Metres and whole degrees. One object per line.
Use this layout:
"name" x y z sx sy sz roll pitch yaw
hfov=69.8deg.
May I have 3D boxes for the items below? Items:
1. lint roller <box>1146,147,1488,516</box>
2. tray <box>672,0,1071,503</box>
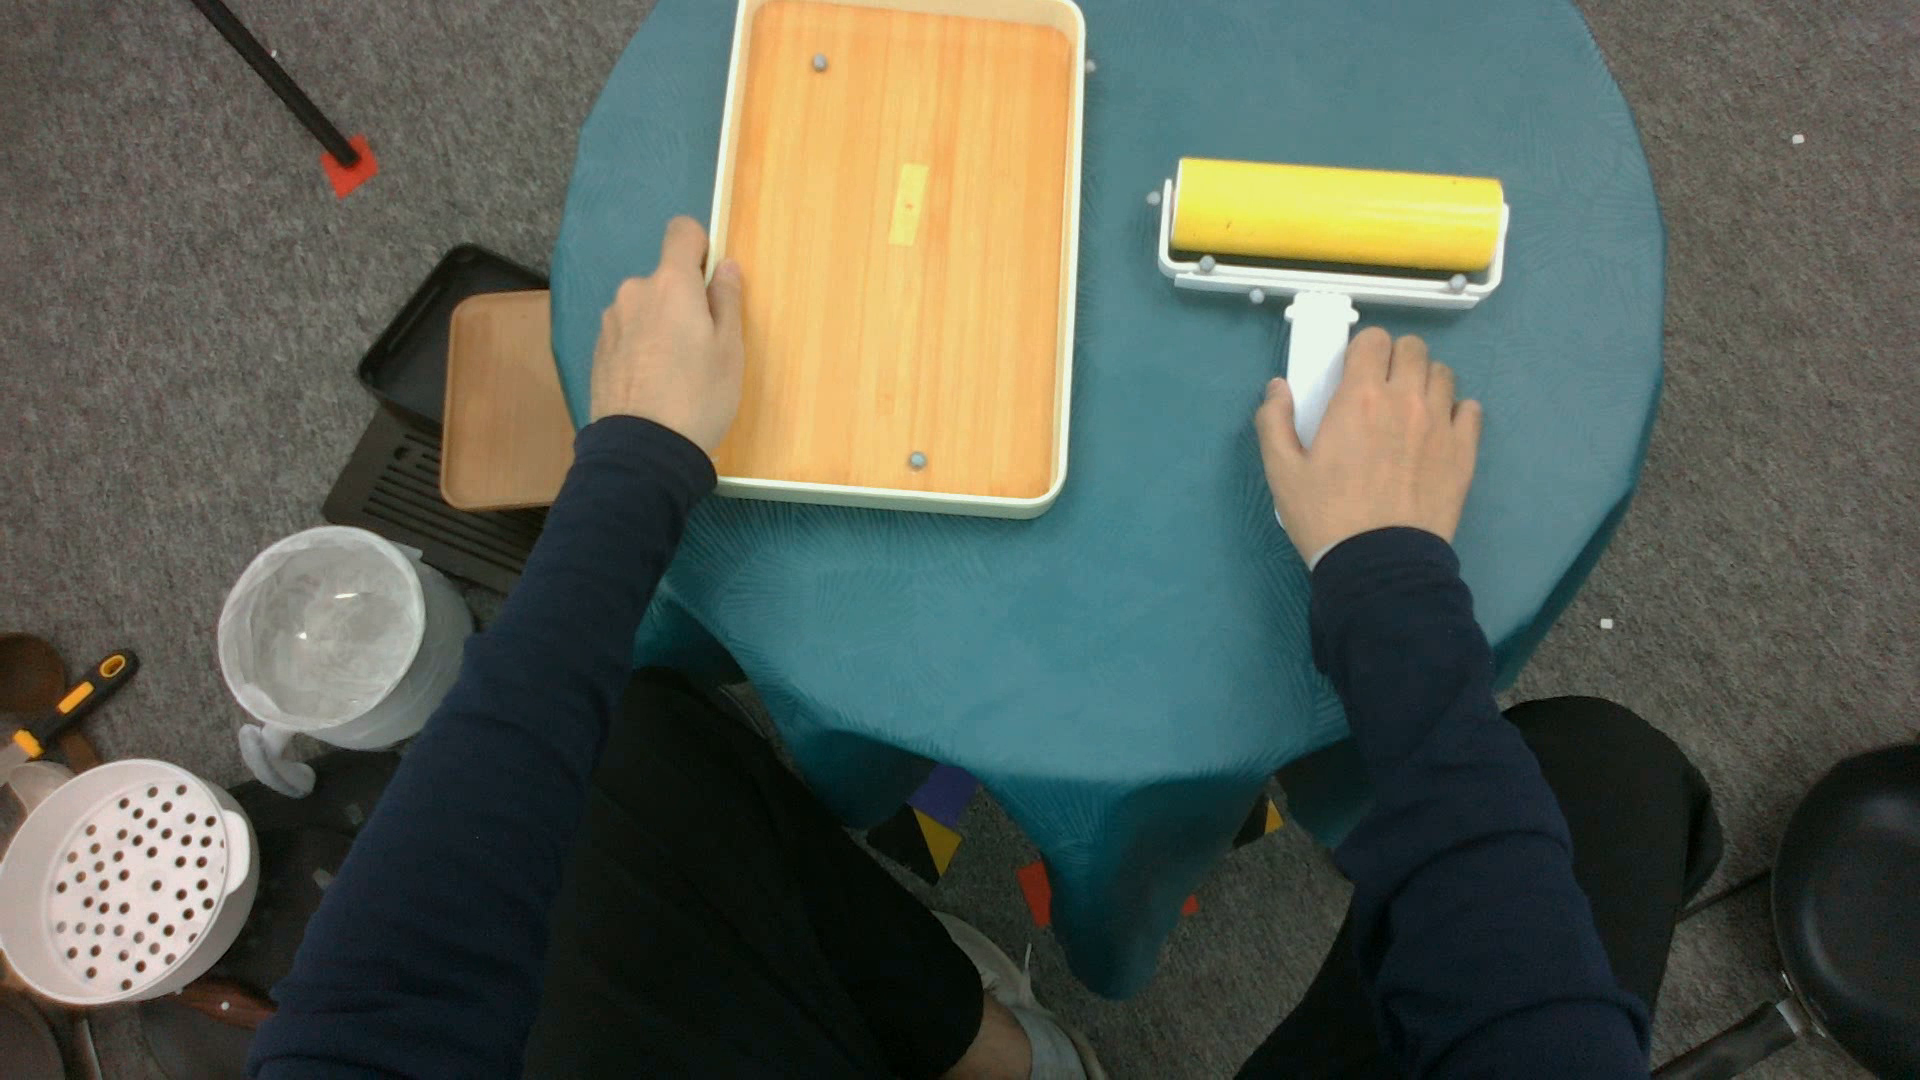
"lint roller" 0.179 -0.110 0.702 0.174 0.051 0.192 4 71 5
"tray" -0.041 -0.169 0.730 0.191 0.027 0.301 4 73 -1
